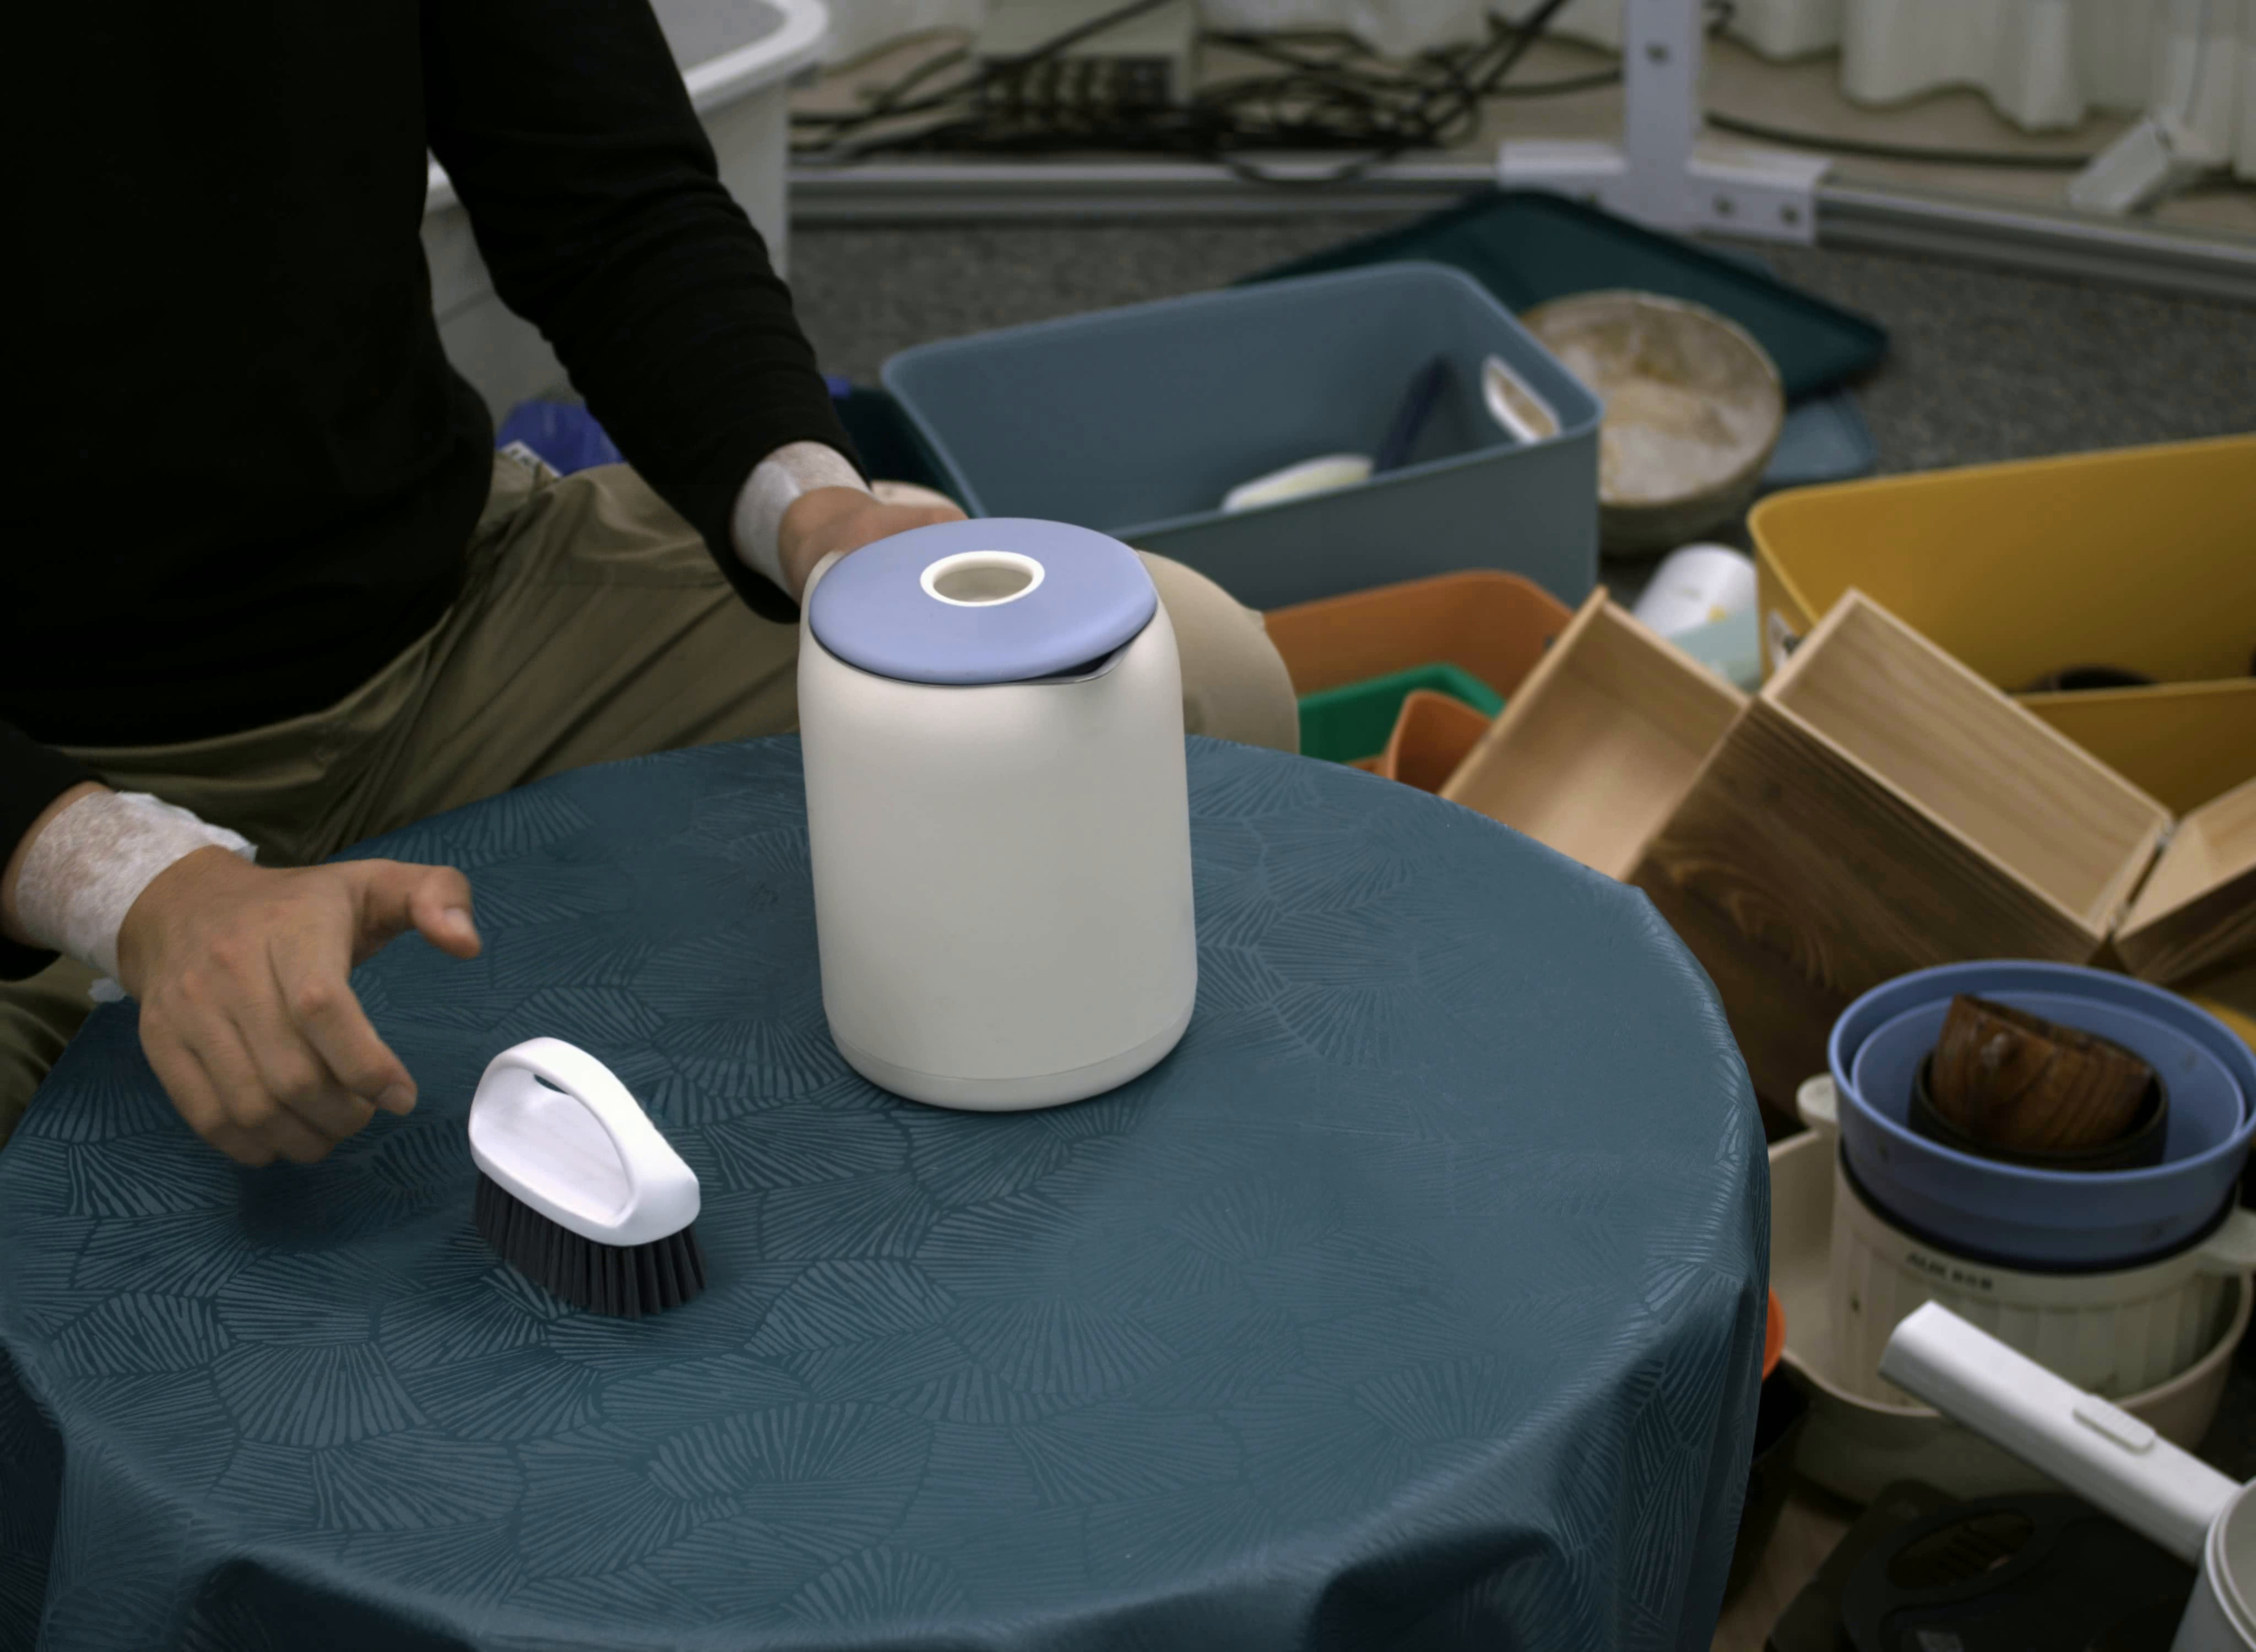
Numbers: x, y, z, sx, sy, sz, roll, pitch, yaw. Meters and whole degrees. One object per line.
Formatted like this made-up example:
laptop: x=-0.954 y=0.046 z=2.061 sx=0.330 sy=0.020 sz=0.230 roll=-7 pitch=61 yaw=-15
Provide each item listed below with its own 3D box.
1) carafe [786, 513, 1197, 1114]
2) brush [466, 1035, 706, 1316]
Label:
carafe: x=-0.059 y=-0.013 z=1.944 sx=0.133 sy=0.181 sz=0.191 roll=-20 pitch=30 yaw=-31
brush: x=-0.179 y=0.107 z=1.827 sx=0.051 sy=0.072 sz=0.099 roll=-21 pitch=32 yaw=-33
